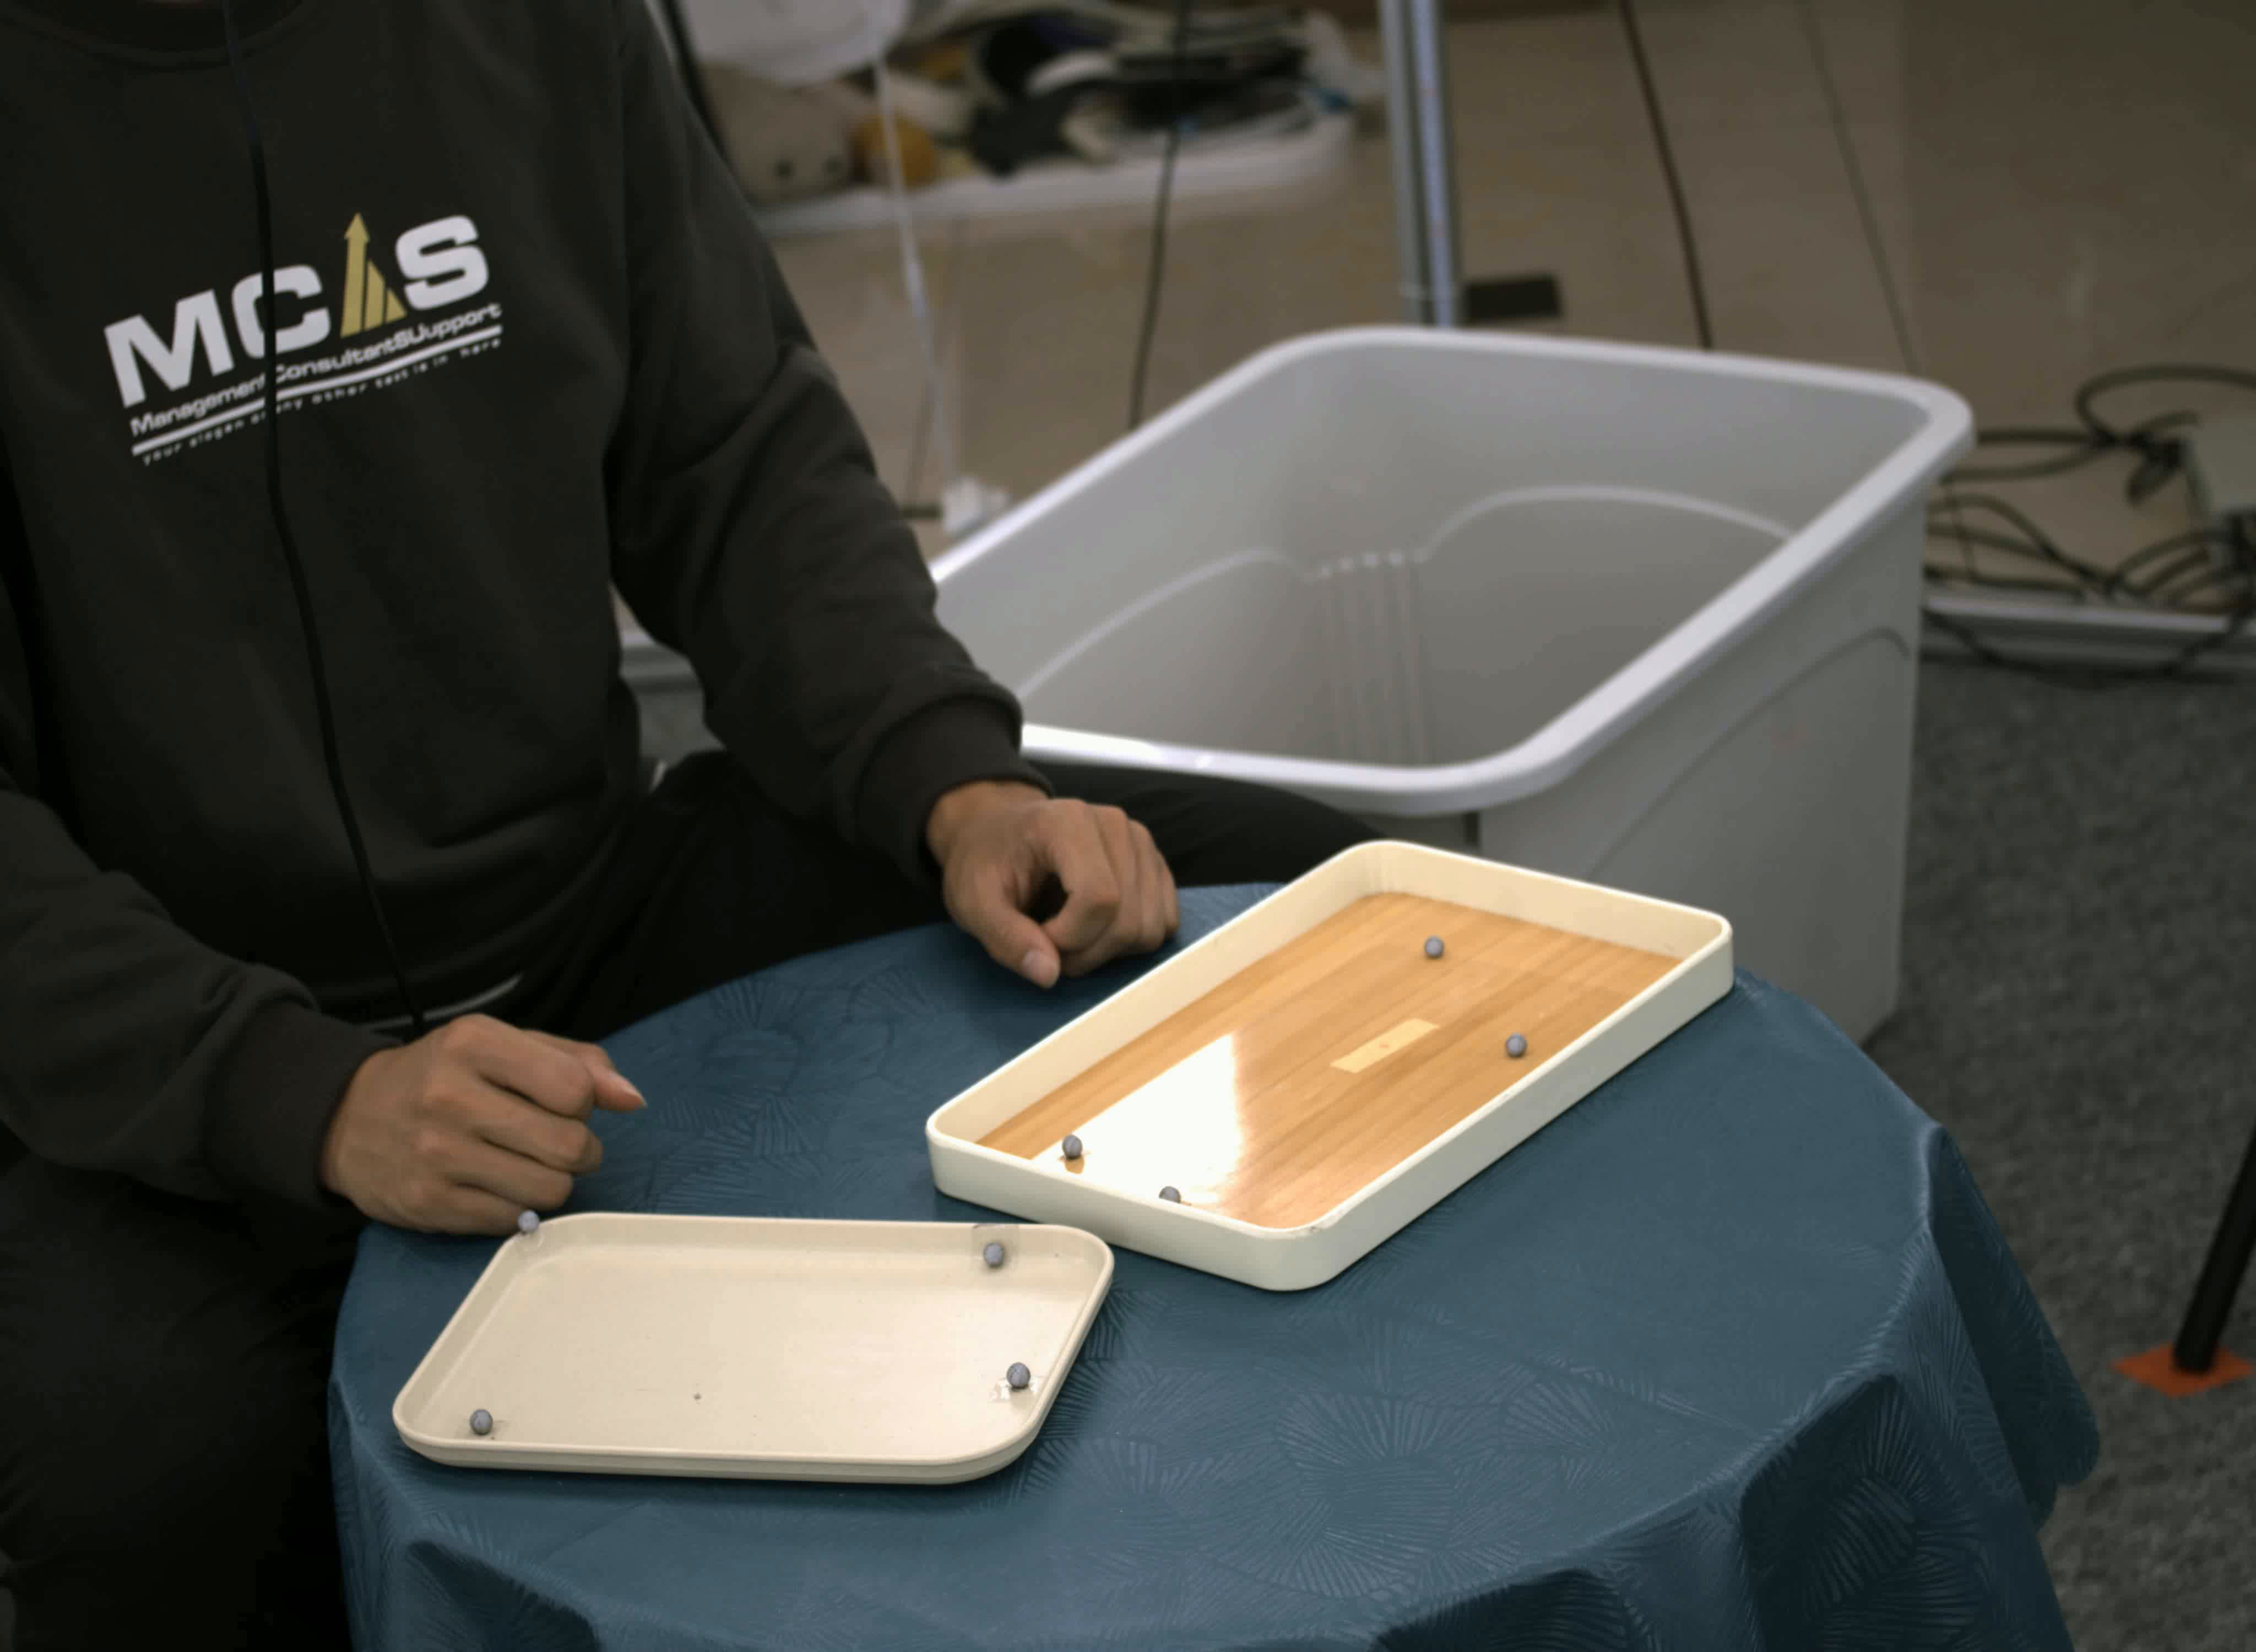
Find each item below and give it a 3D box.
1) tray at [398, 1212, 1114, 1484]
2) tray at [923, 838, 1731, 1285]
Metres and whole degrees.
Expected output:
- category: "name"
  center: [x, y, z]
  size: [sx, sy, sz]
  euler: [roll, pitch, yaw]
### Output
- category: "tray"
  center: [-0.132, 0.188, 2.051]
  size: [0.239, 0.018, 0.169]
  euler: [0, 26, 15]
- category: "tray"
  center: [0.081, 0.087, 2.208]
  size: [0.190, 0.028, 0.297]
  euler: [13, 31, 37]
